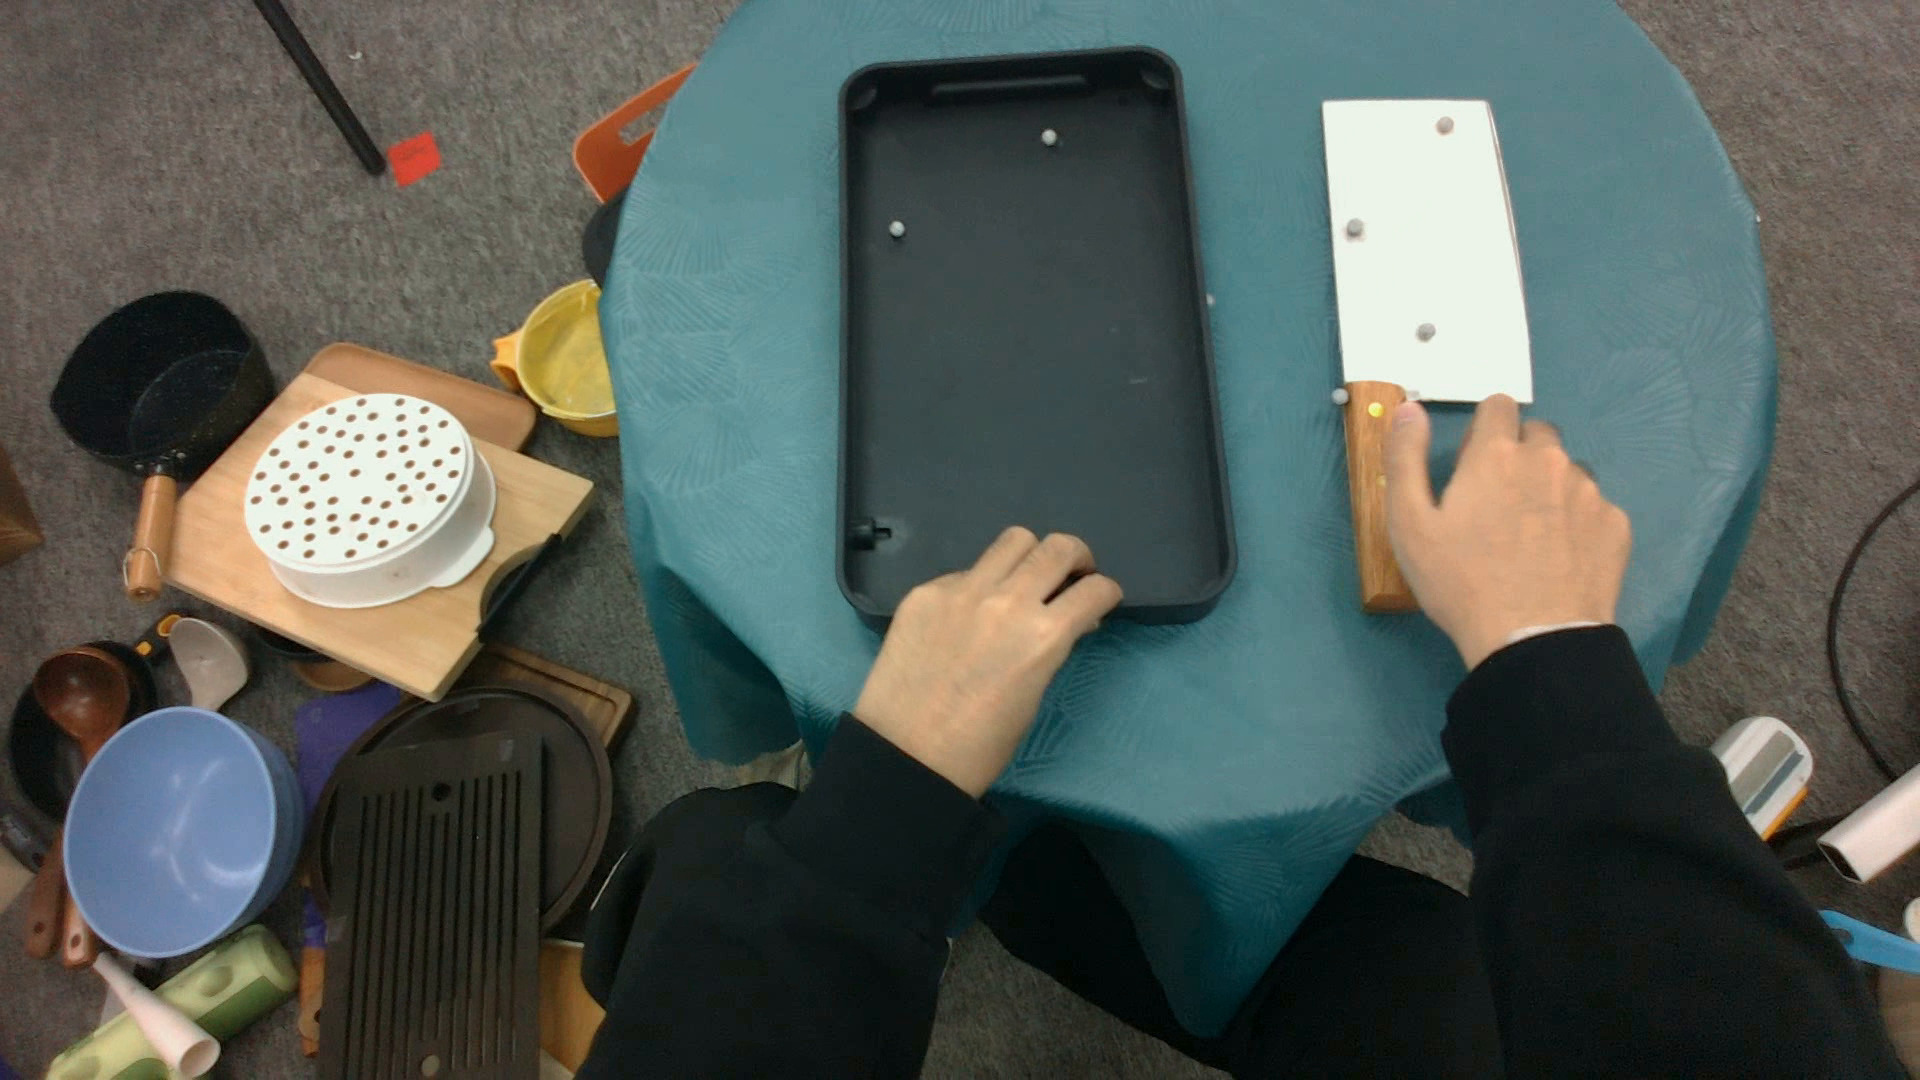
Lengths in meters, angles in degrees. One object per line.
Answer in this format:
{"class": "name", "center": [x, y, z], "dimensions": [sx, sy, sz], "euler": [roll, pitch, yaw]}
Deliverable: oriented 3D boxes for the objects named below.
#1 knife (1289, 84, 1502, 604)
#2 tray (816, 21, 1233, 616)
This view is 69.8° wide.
{"class": "knife", "center": [0.221, -0.110, 0.689], "dimensions": [0.093, 0.021, 0.307], "euler": [1, 65, 2]}
{"class": "tray", "center": [0.024, -0.119, 0.692], "dimensions": [0.184, 0.037, 0.319], "euler": [-4, 68, 1]}
